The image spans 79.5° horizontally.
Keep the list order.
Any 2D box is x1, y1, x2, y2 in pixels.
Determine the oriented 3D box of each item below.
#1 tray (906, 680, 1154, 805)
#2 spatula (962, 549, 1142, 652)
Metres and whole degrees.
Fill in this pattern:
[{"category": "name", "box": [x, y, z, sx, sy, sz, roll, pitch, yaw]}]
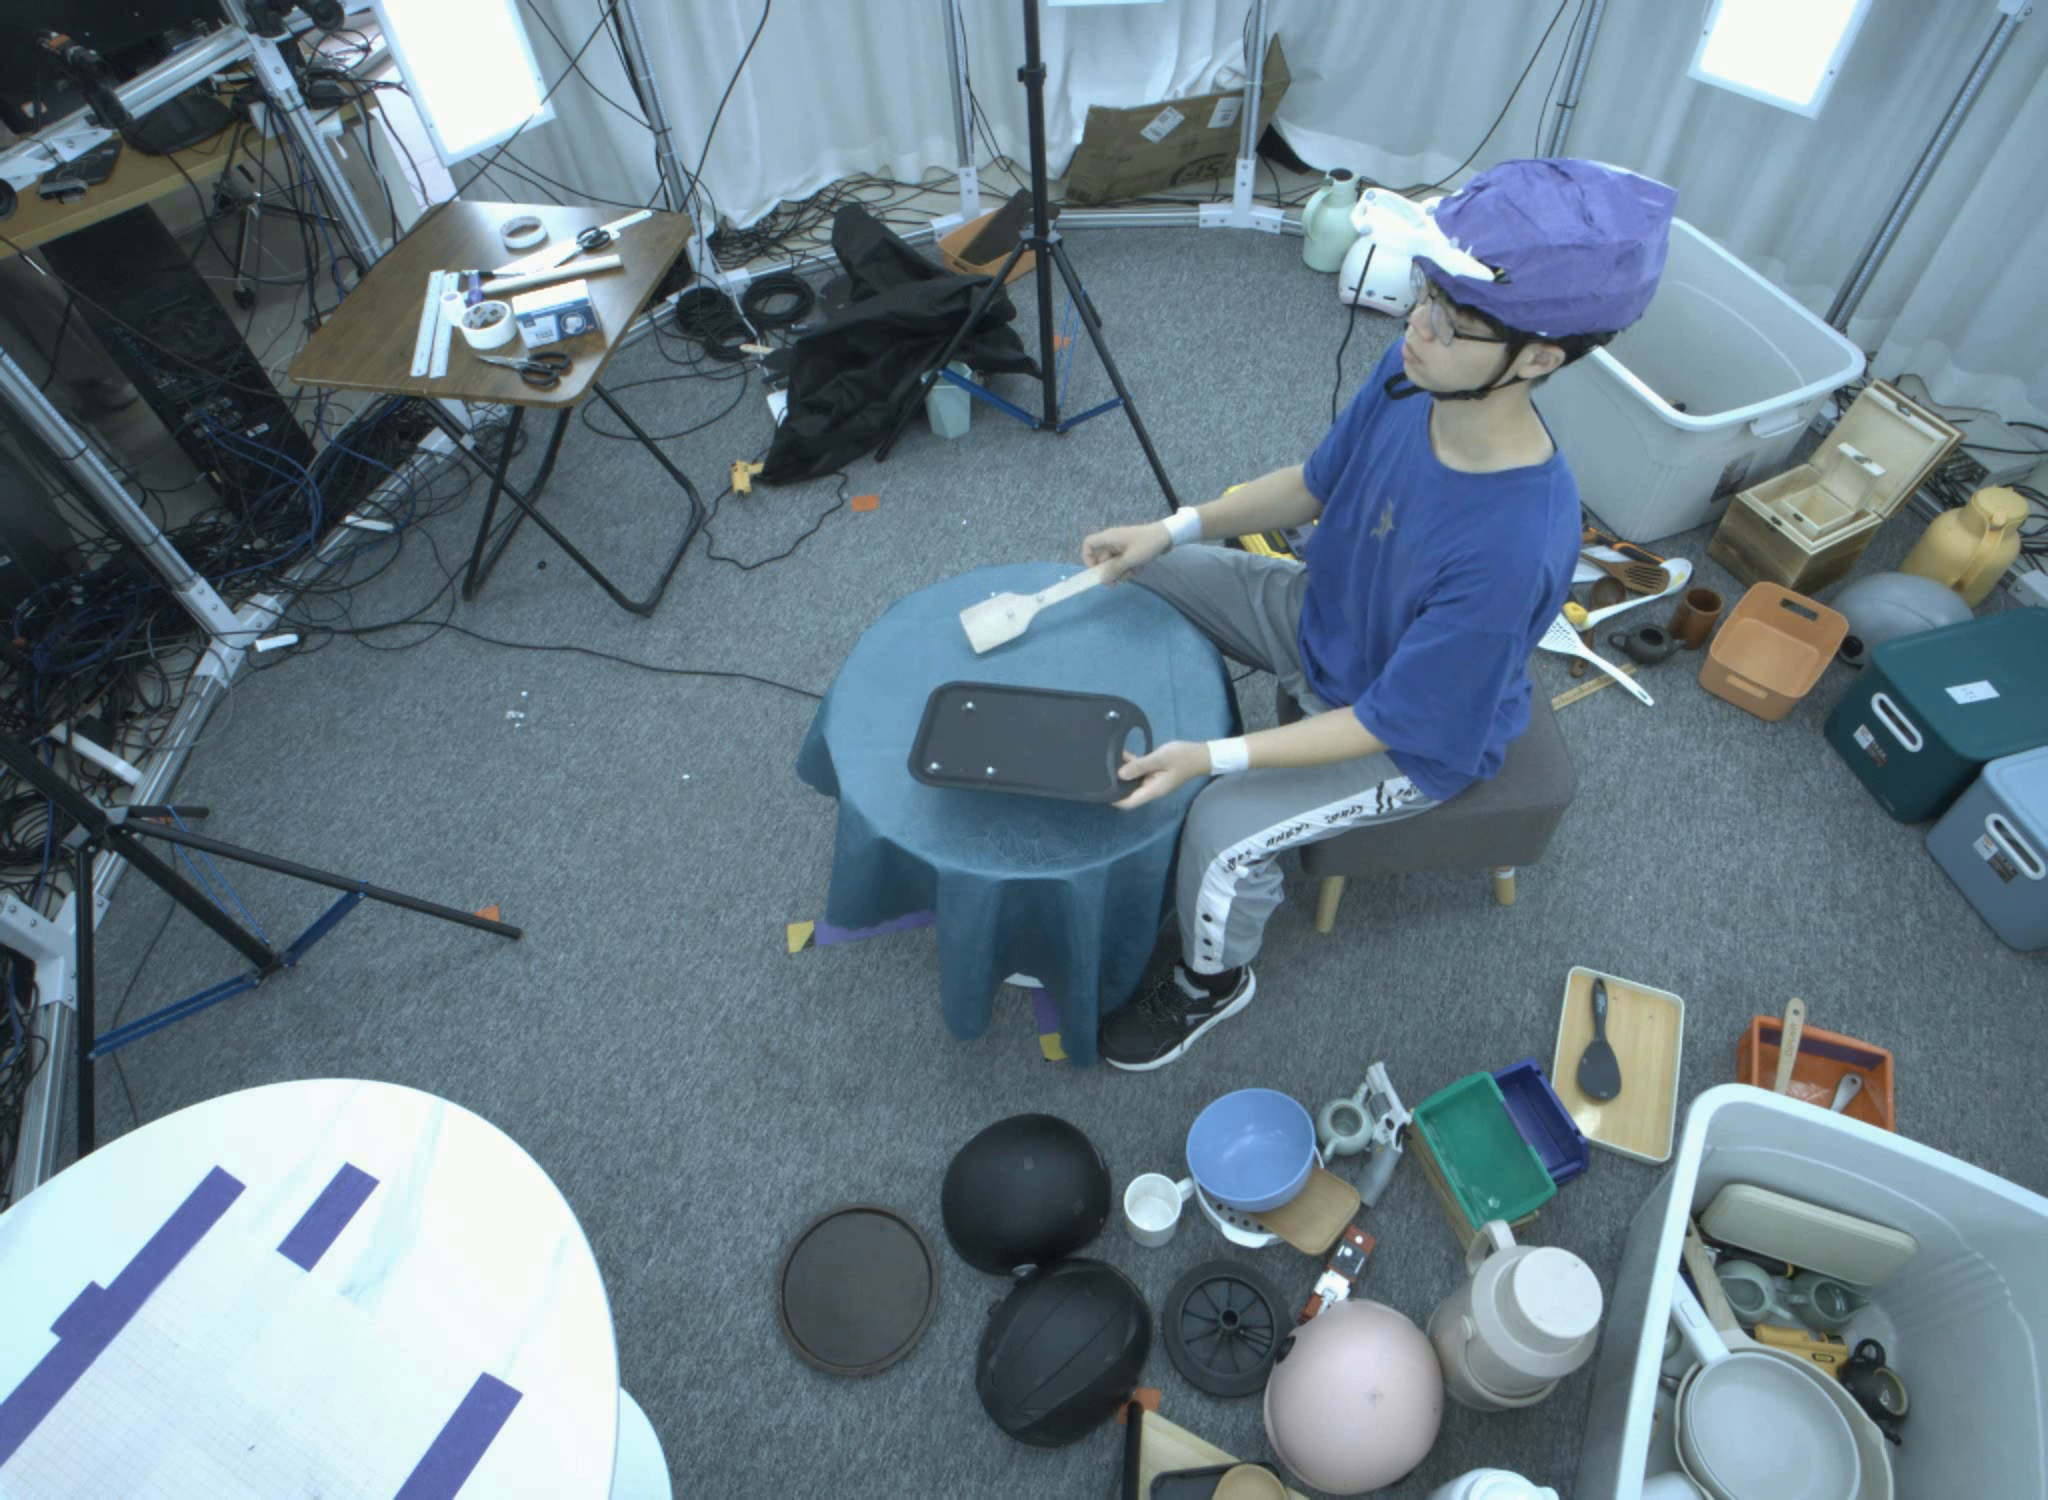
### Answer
[{"category": "tray", "box": [0.013, -0.014, 1.667, 0.324, 0.010, 0.210, 7, 46, 6]}, {"category": "spatula", "box": [0.047, -0.242, 1.890, 0.294, 0.010, 0.072, -25, 93, -5]}]
